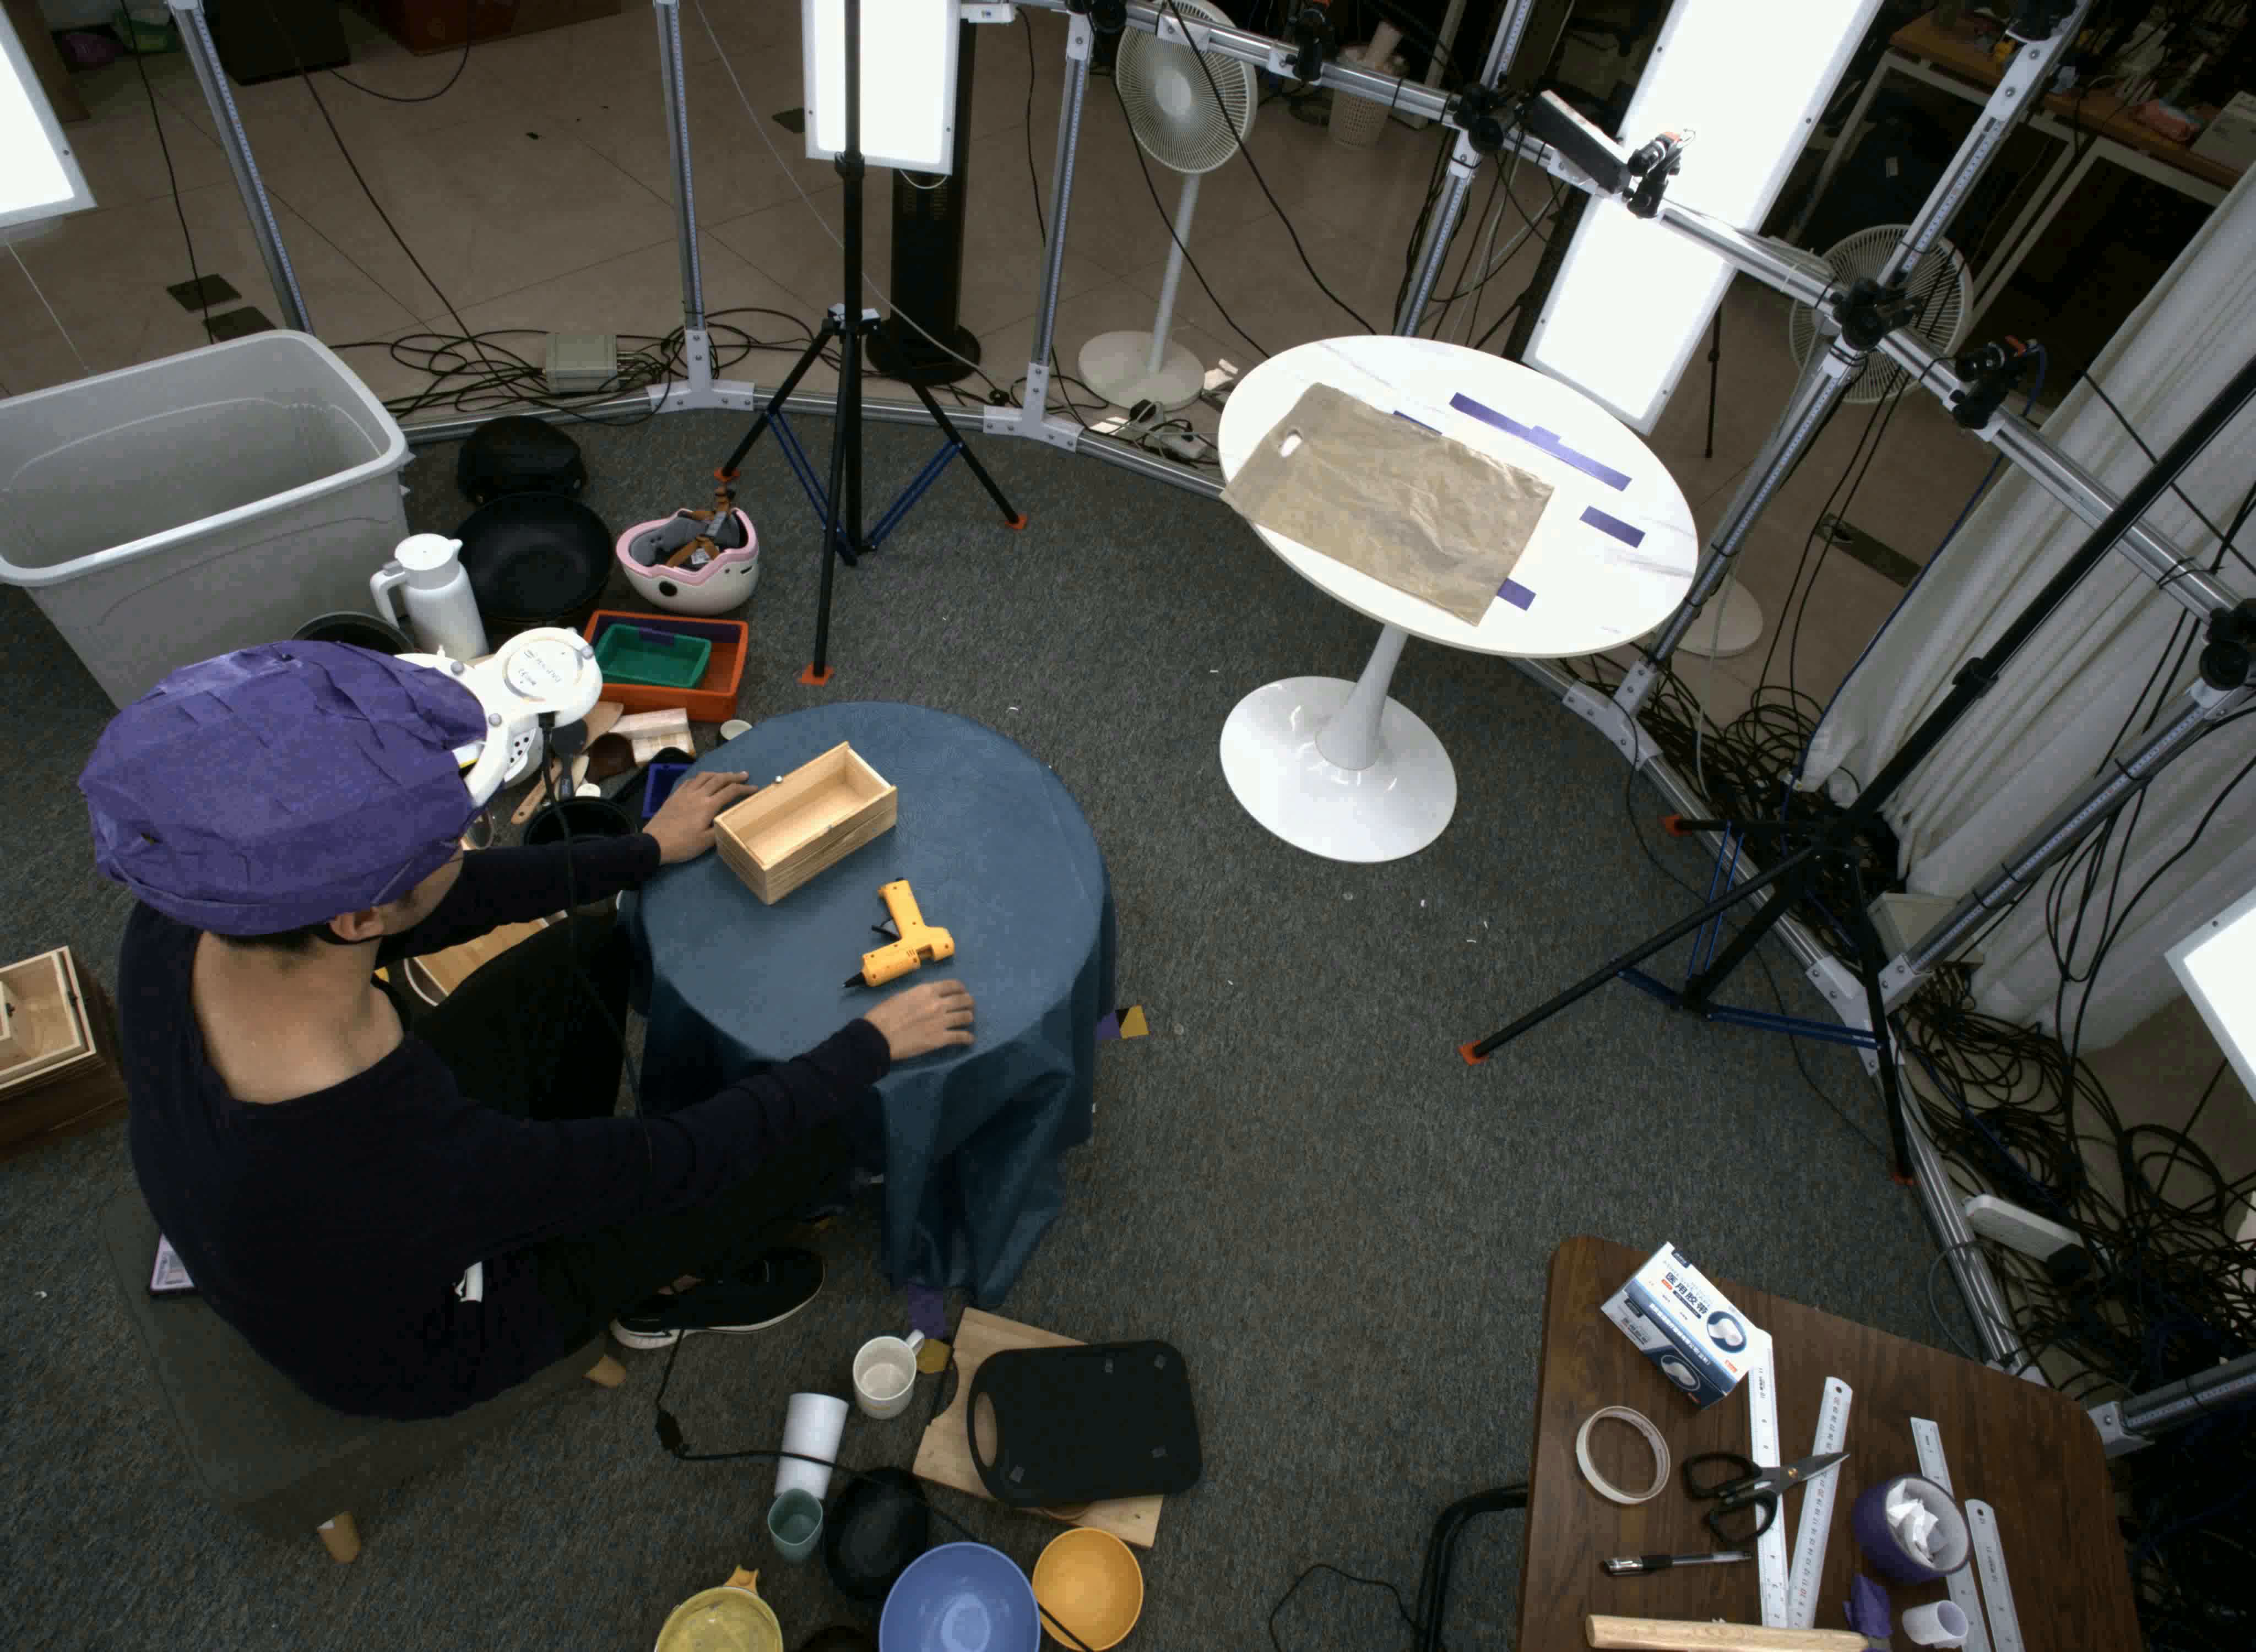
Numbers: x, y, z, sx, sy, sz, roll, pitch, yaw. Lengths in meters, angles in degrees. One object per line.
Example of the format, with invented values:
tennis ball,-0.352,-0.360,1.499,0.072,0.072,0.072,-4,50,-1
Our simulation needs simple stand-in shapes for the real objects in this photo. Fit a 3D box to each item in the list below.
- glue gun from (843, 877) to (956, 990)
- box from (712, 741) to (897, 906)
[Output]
glue gun,-0.310,0.139,1.628,0.152,0.032,0.130,-27,64,-30
box,-0.414,-0.007,1.675,0.105,0.082,0.212,42,55,19
